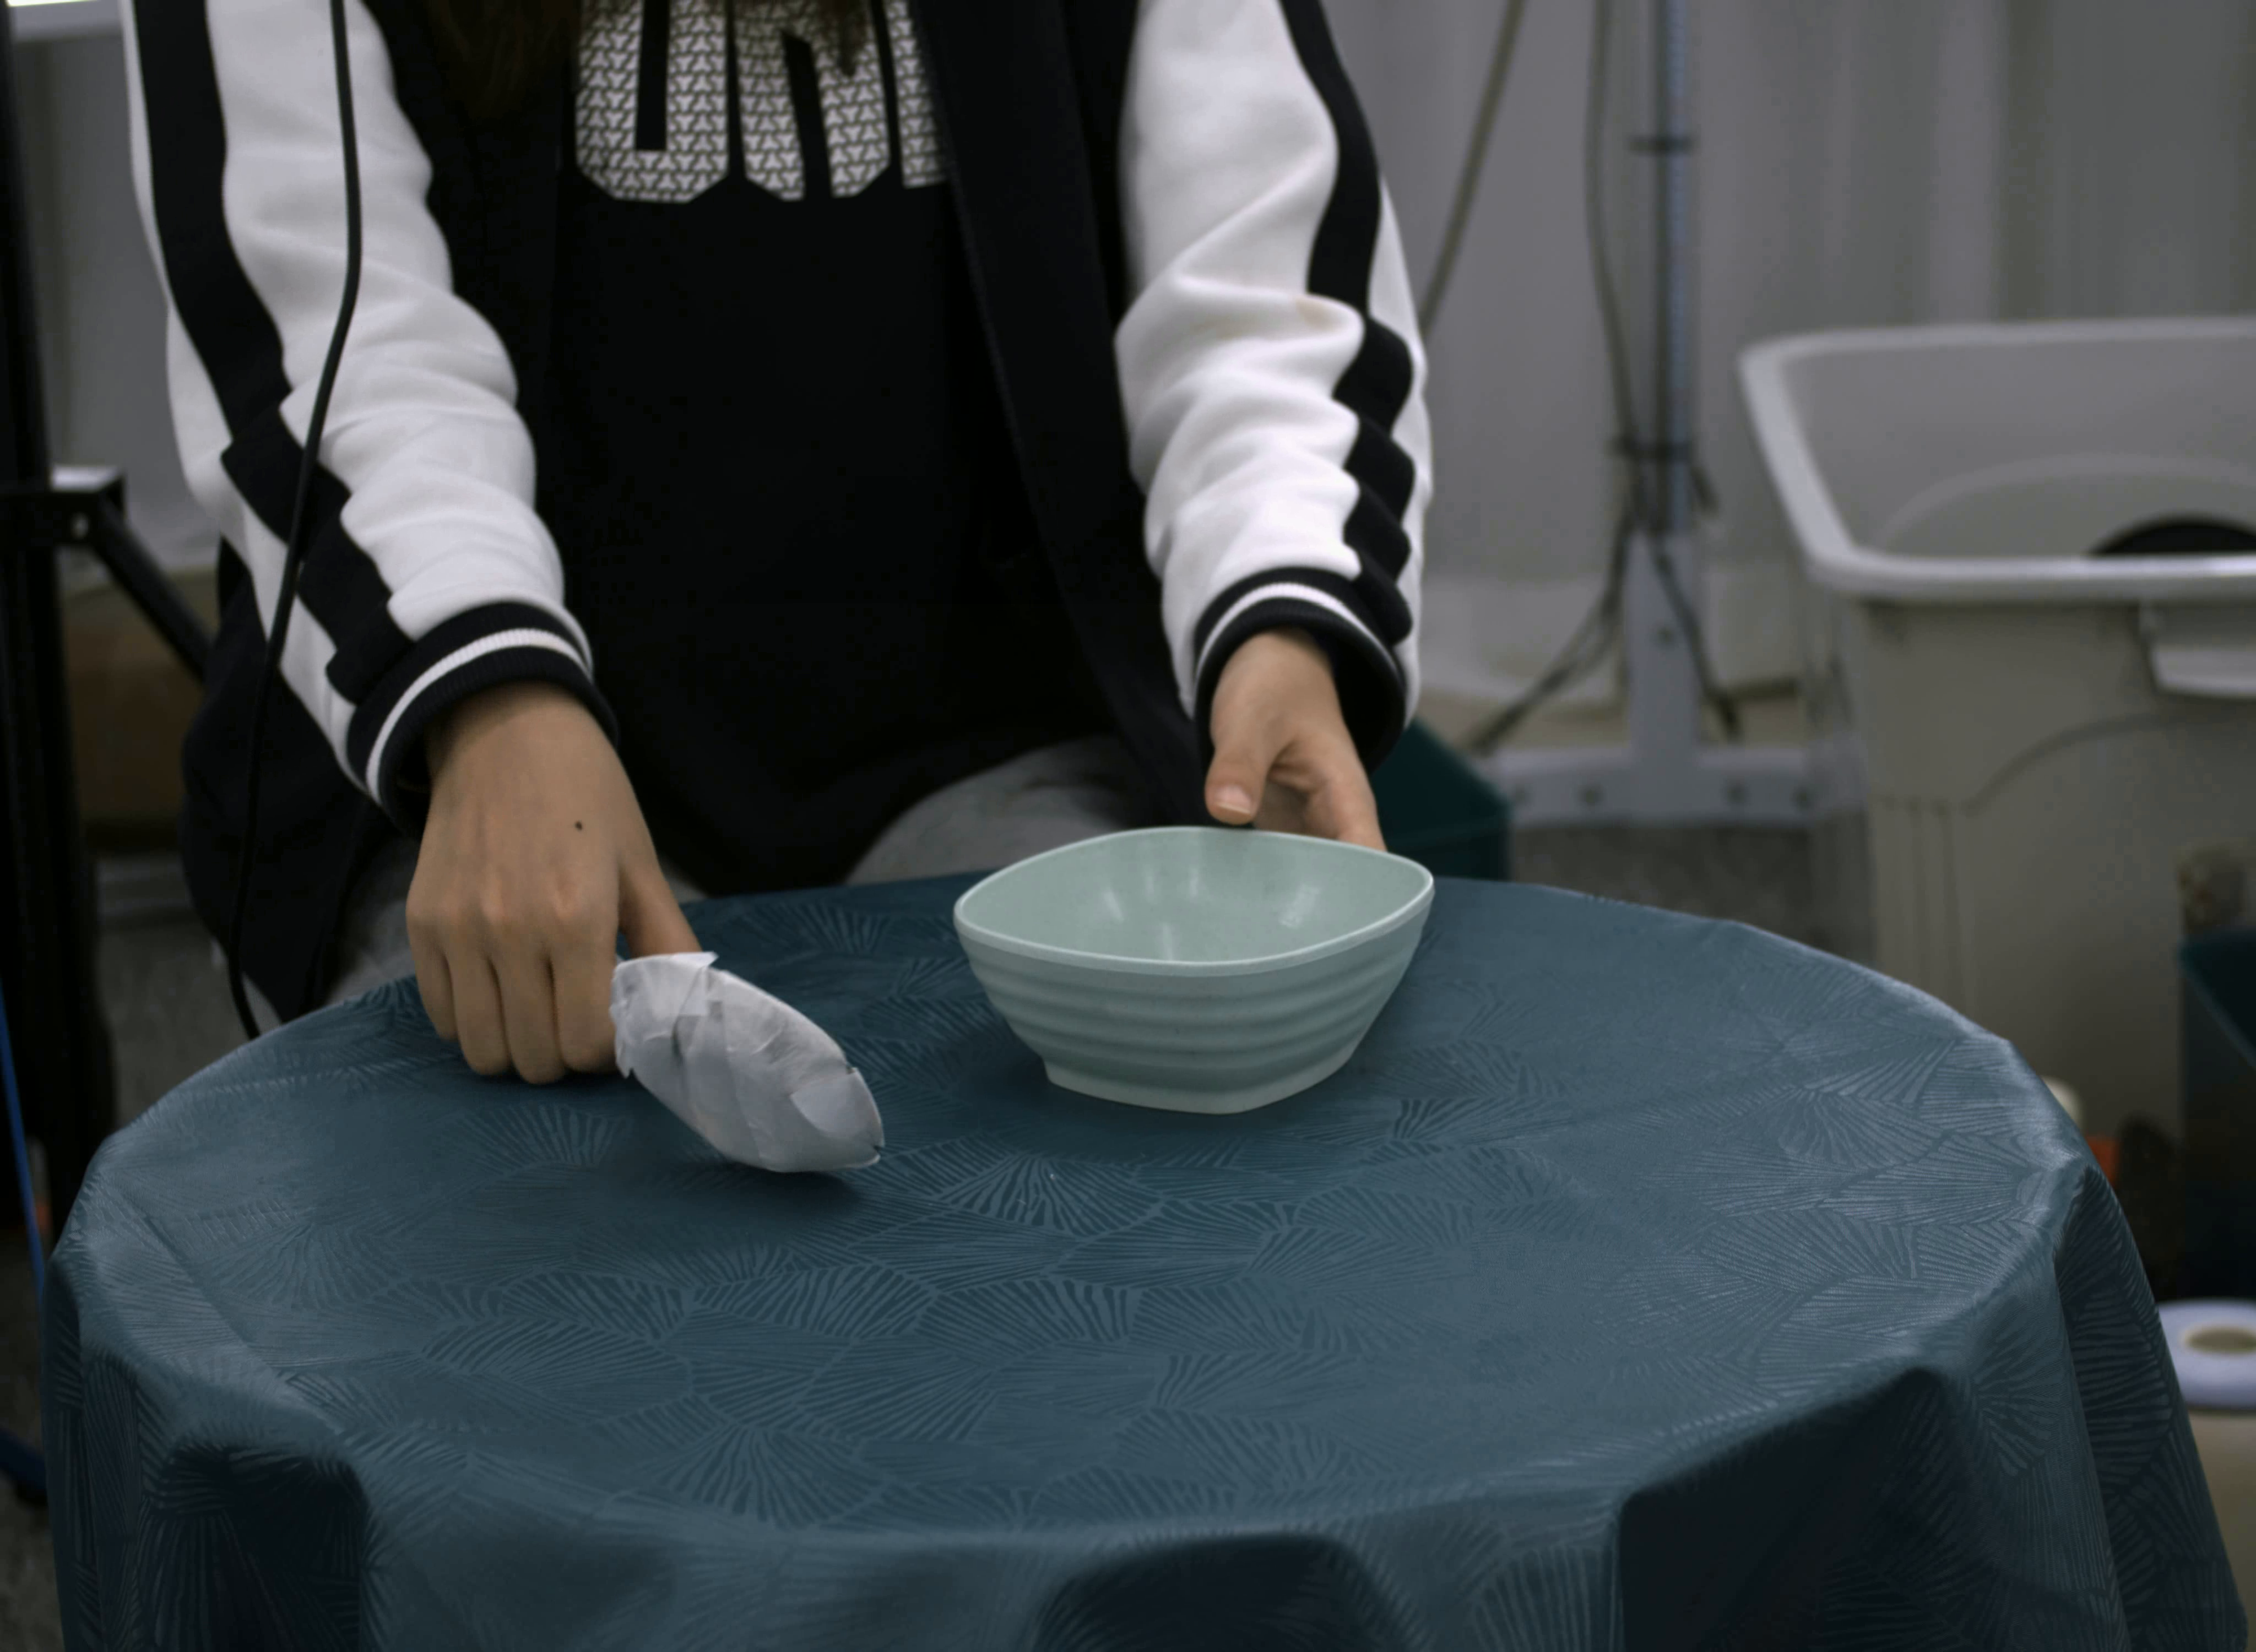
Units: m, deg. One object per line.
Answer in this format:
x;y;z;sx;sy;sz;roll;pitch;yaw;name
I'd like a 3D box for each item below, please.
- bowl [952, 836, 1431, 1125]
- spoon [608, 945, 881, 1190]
0.021;0.051;1.661;0.150;0.058;0.152;-3;15;-1;bowl
-0.123;0.059;1.662;0.059;0.100;0.279;-42;11;0;spoon
